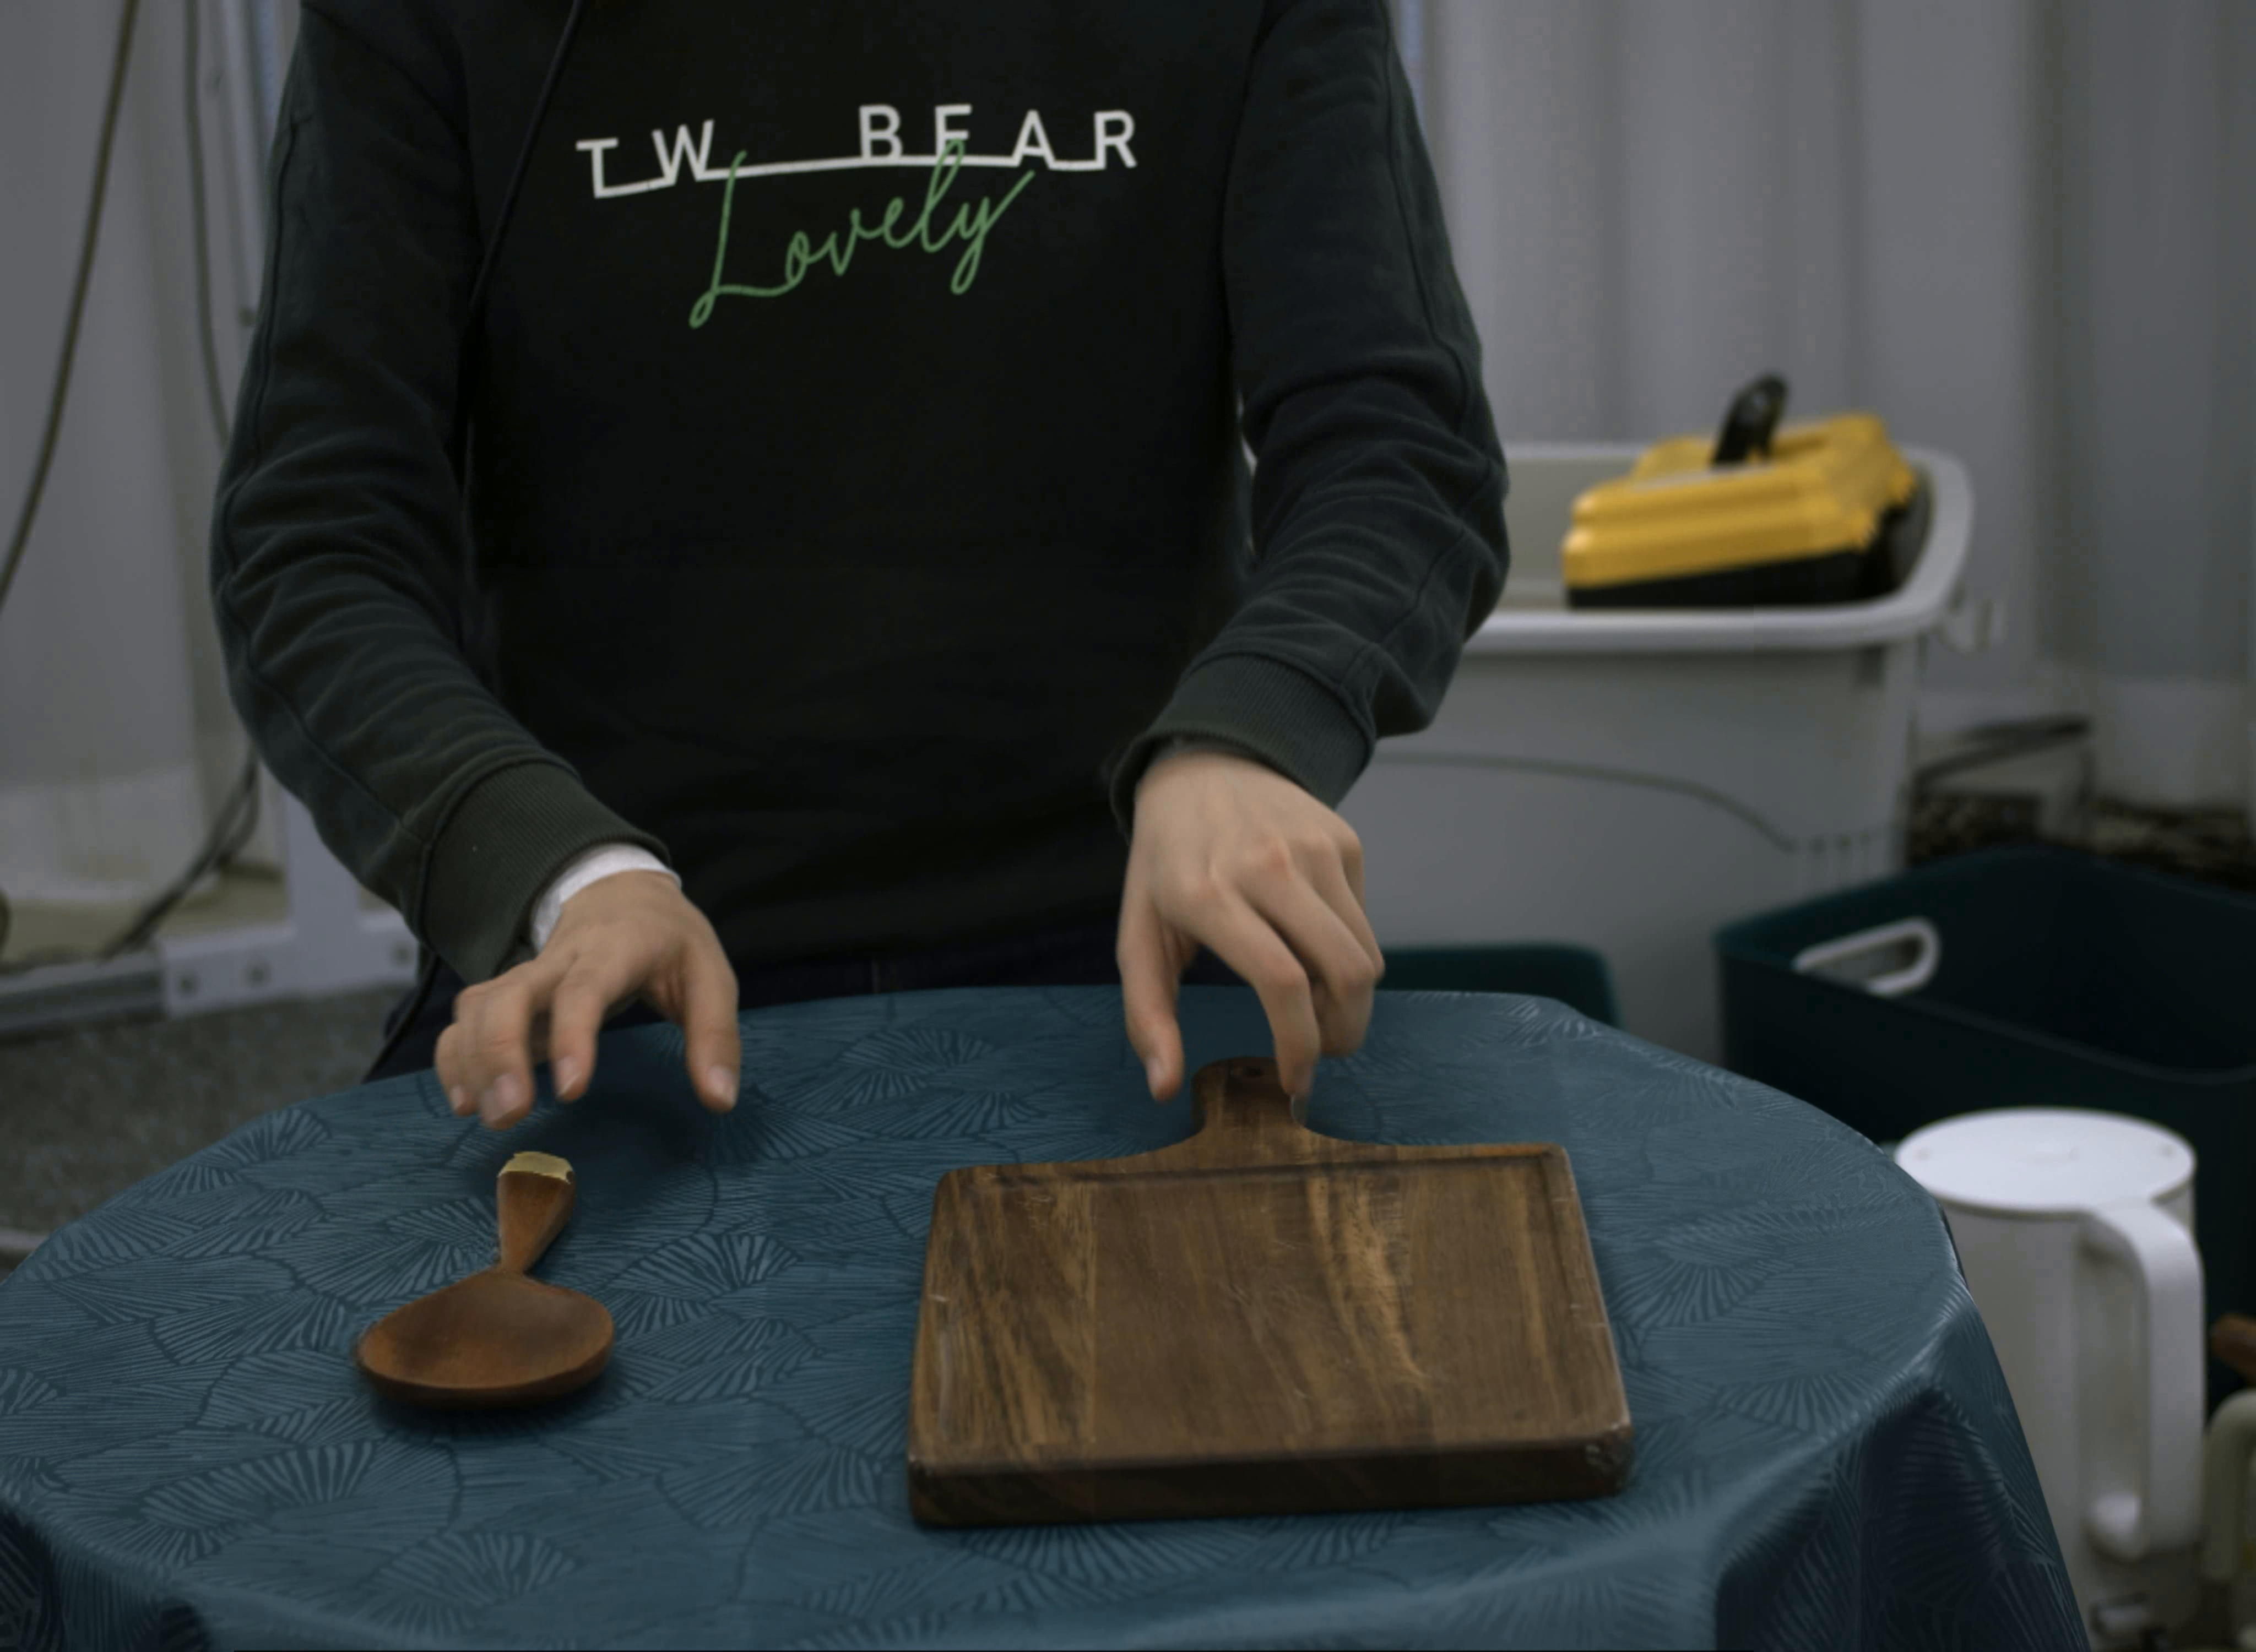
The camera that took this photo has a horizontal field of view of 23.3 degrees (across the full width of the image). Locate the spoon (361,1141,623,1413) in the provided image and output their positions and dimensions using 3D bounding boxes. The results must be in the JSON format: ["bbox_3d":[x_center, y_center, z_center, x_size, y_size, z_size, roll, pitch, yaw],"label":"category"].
[{"bbox_3d":[-0.184,0.136,1.635,0.075,0.017,0.217,-5,16,0],"label":"spoon"}]

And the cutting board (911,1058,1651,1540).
[{"bbox_3d":[0.039,0.131,1.613,0.200,0.023,0.354,-3,15,1],"label":"cutting board"}]
